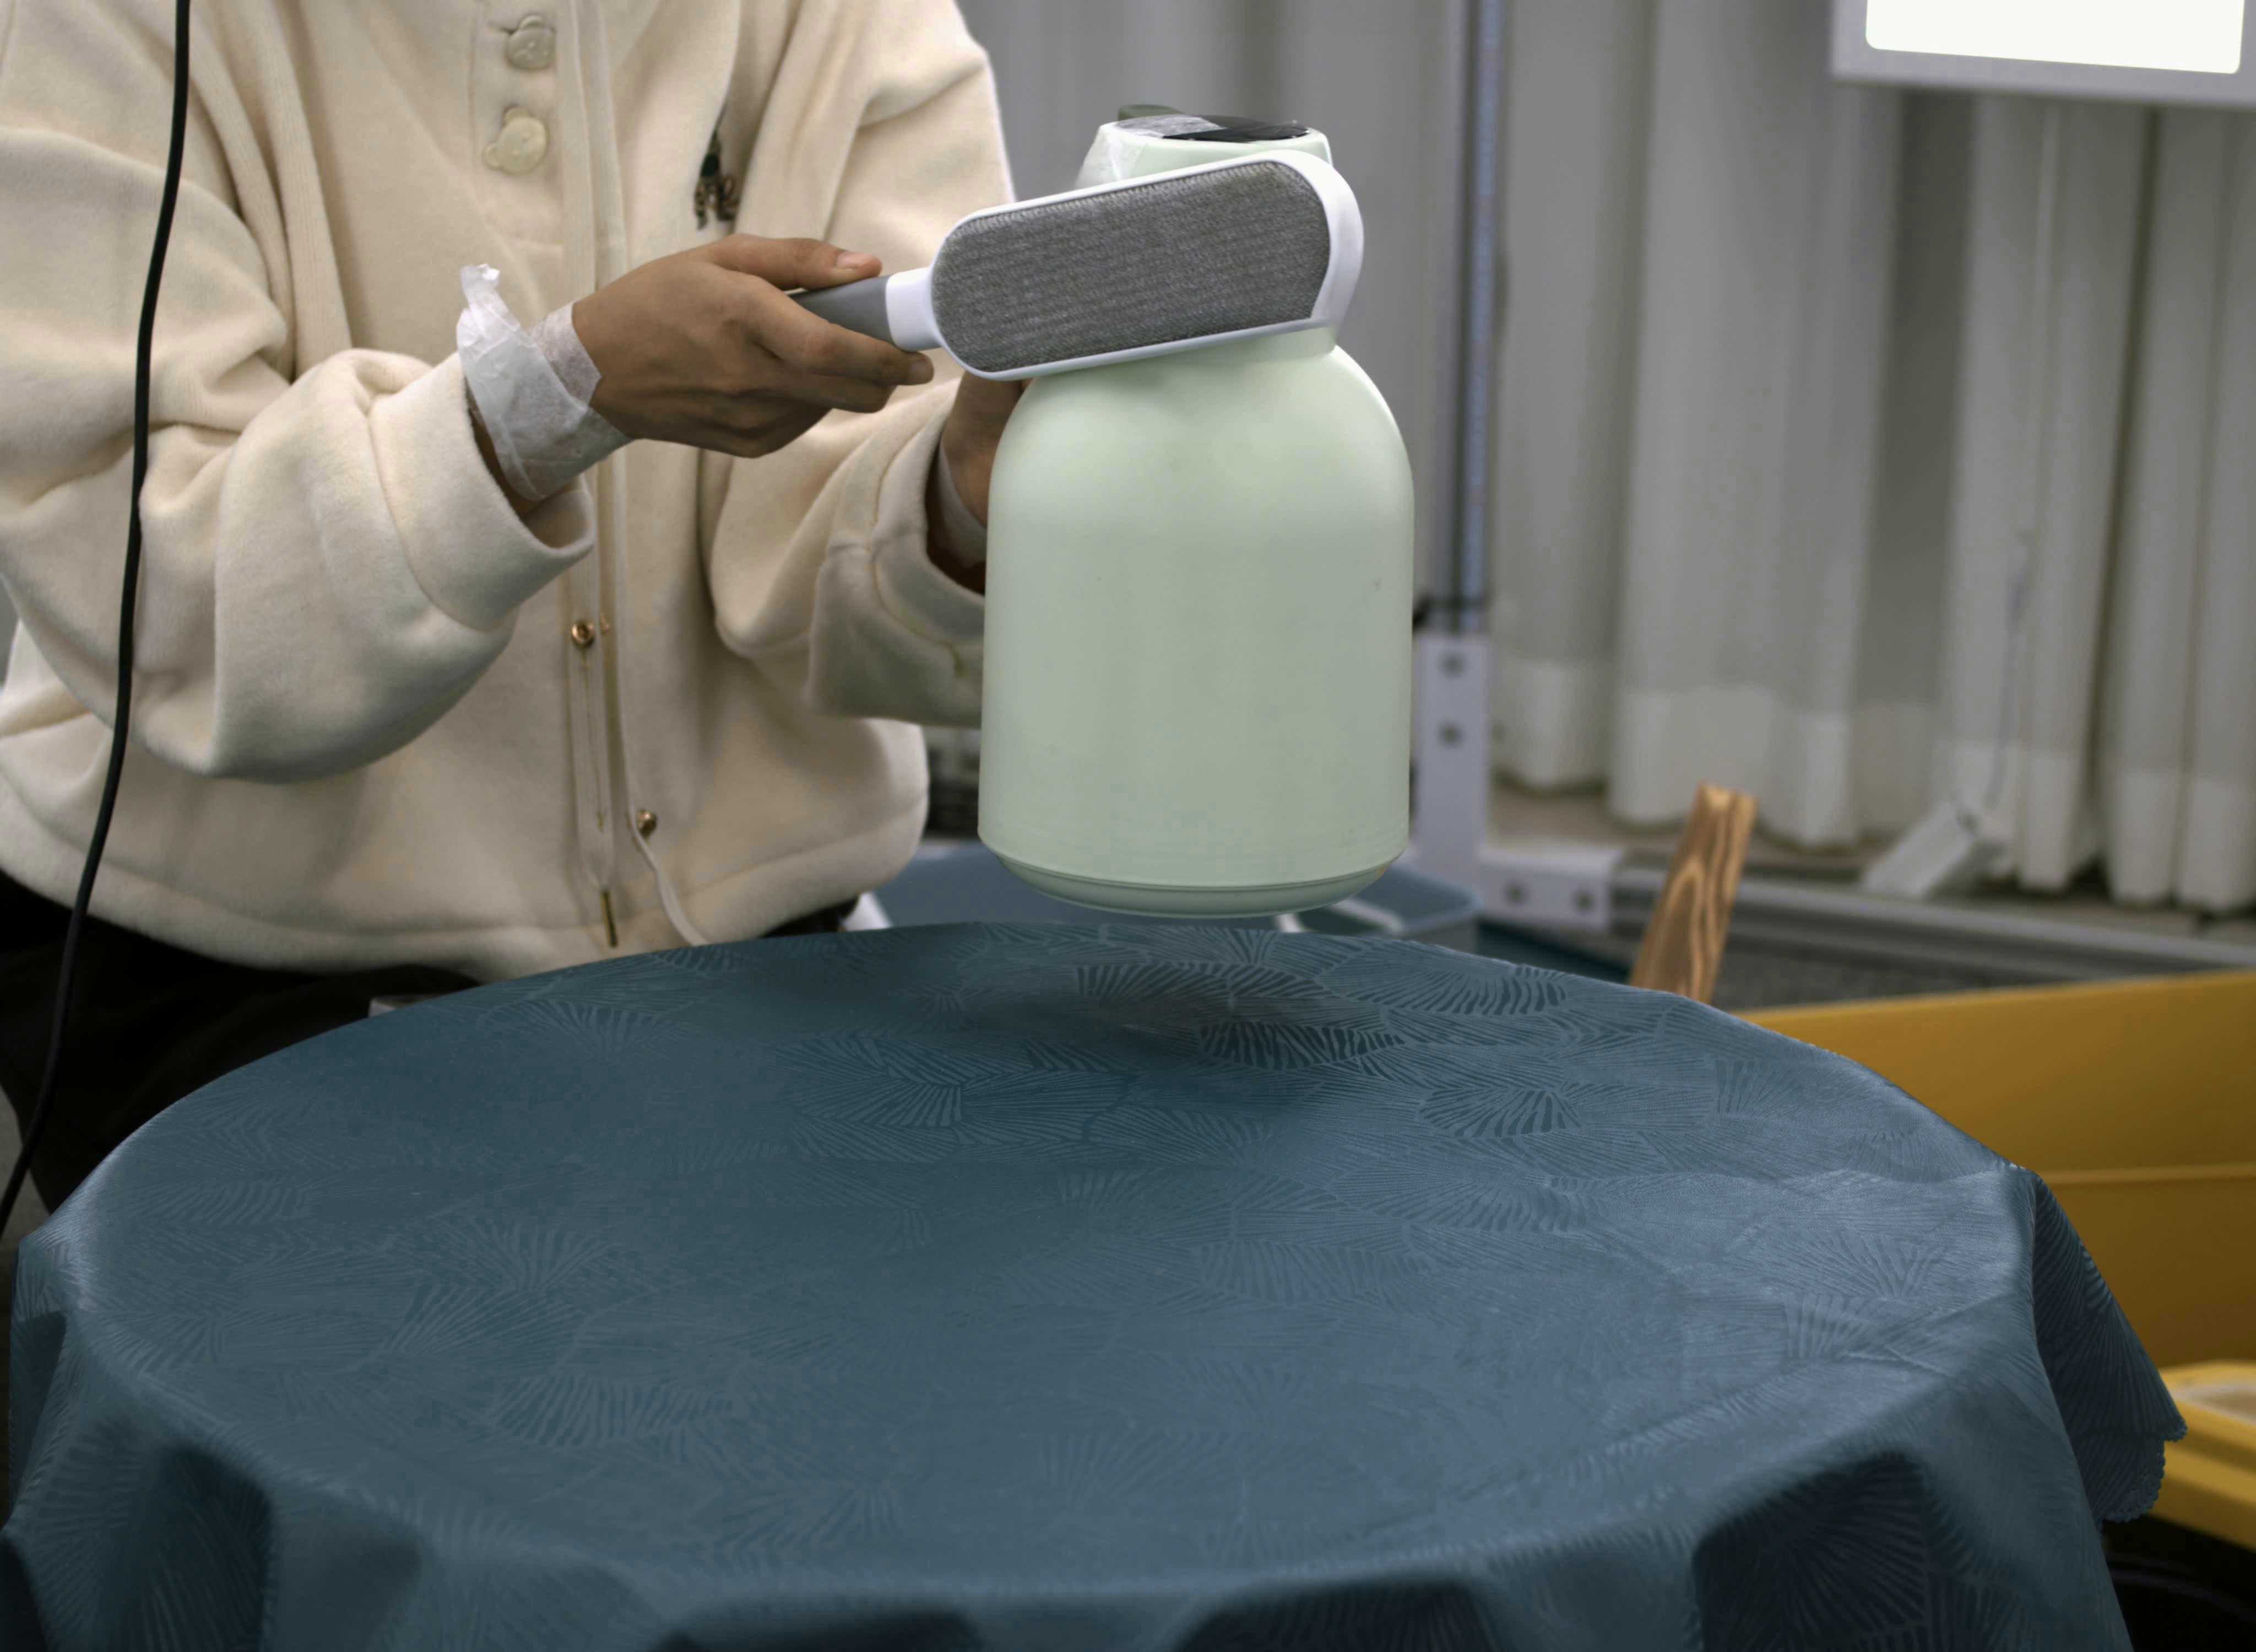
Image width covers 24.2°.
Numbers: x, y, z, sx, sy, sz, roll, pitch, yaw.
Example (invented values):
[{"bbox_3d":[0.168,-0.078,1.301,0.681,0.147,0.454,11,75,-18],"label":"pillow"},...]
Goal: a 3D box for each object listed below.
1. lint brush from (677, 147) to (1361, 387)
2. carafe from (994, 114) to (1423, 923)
[{"bbox_3d":[-0.042,-0.175,1.713,0.305,0.060,0.021,-5,5,44],"label":"lint brush"},{"bbox_3d":[0.021,-0.107,1.757,0.144,0.258,0.185,-6,12,-21],"label":"carafe"}]
